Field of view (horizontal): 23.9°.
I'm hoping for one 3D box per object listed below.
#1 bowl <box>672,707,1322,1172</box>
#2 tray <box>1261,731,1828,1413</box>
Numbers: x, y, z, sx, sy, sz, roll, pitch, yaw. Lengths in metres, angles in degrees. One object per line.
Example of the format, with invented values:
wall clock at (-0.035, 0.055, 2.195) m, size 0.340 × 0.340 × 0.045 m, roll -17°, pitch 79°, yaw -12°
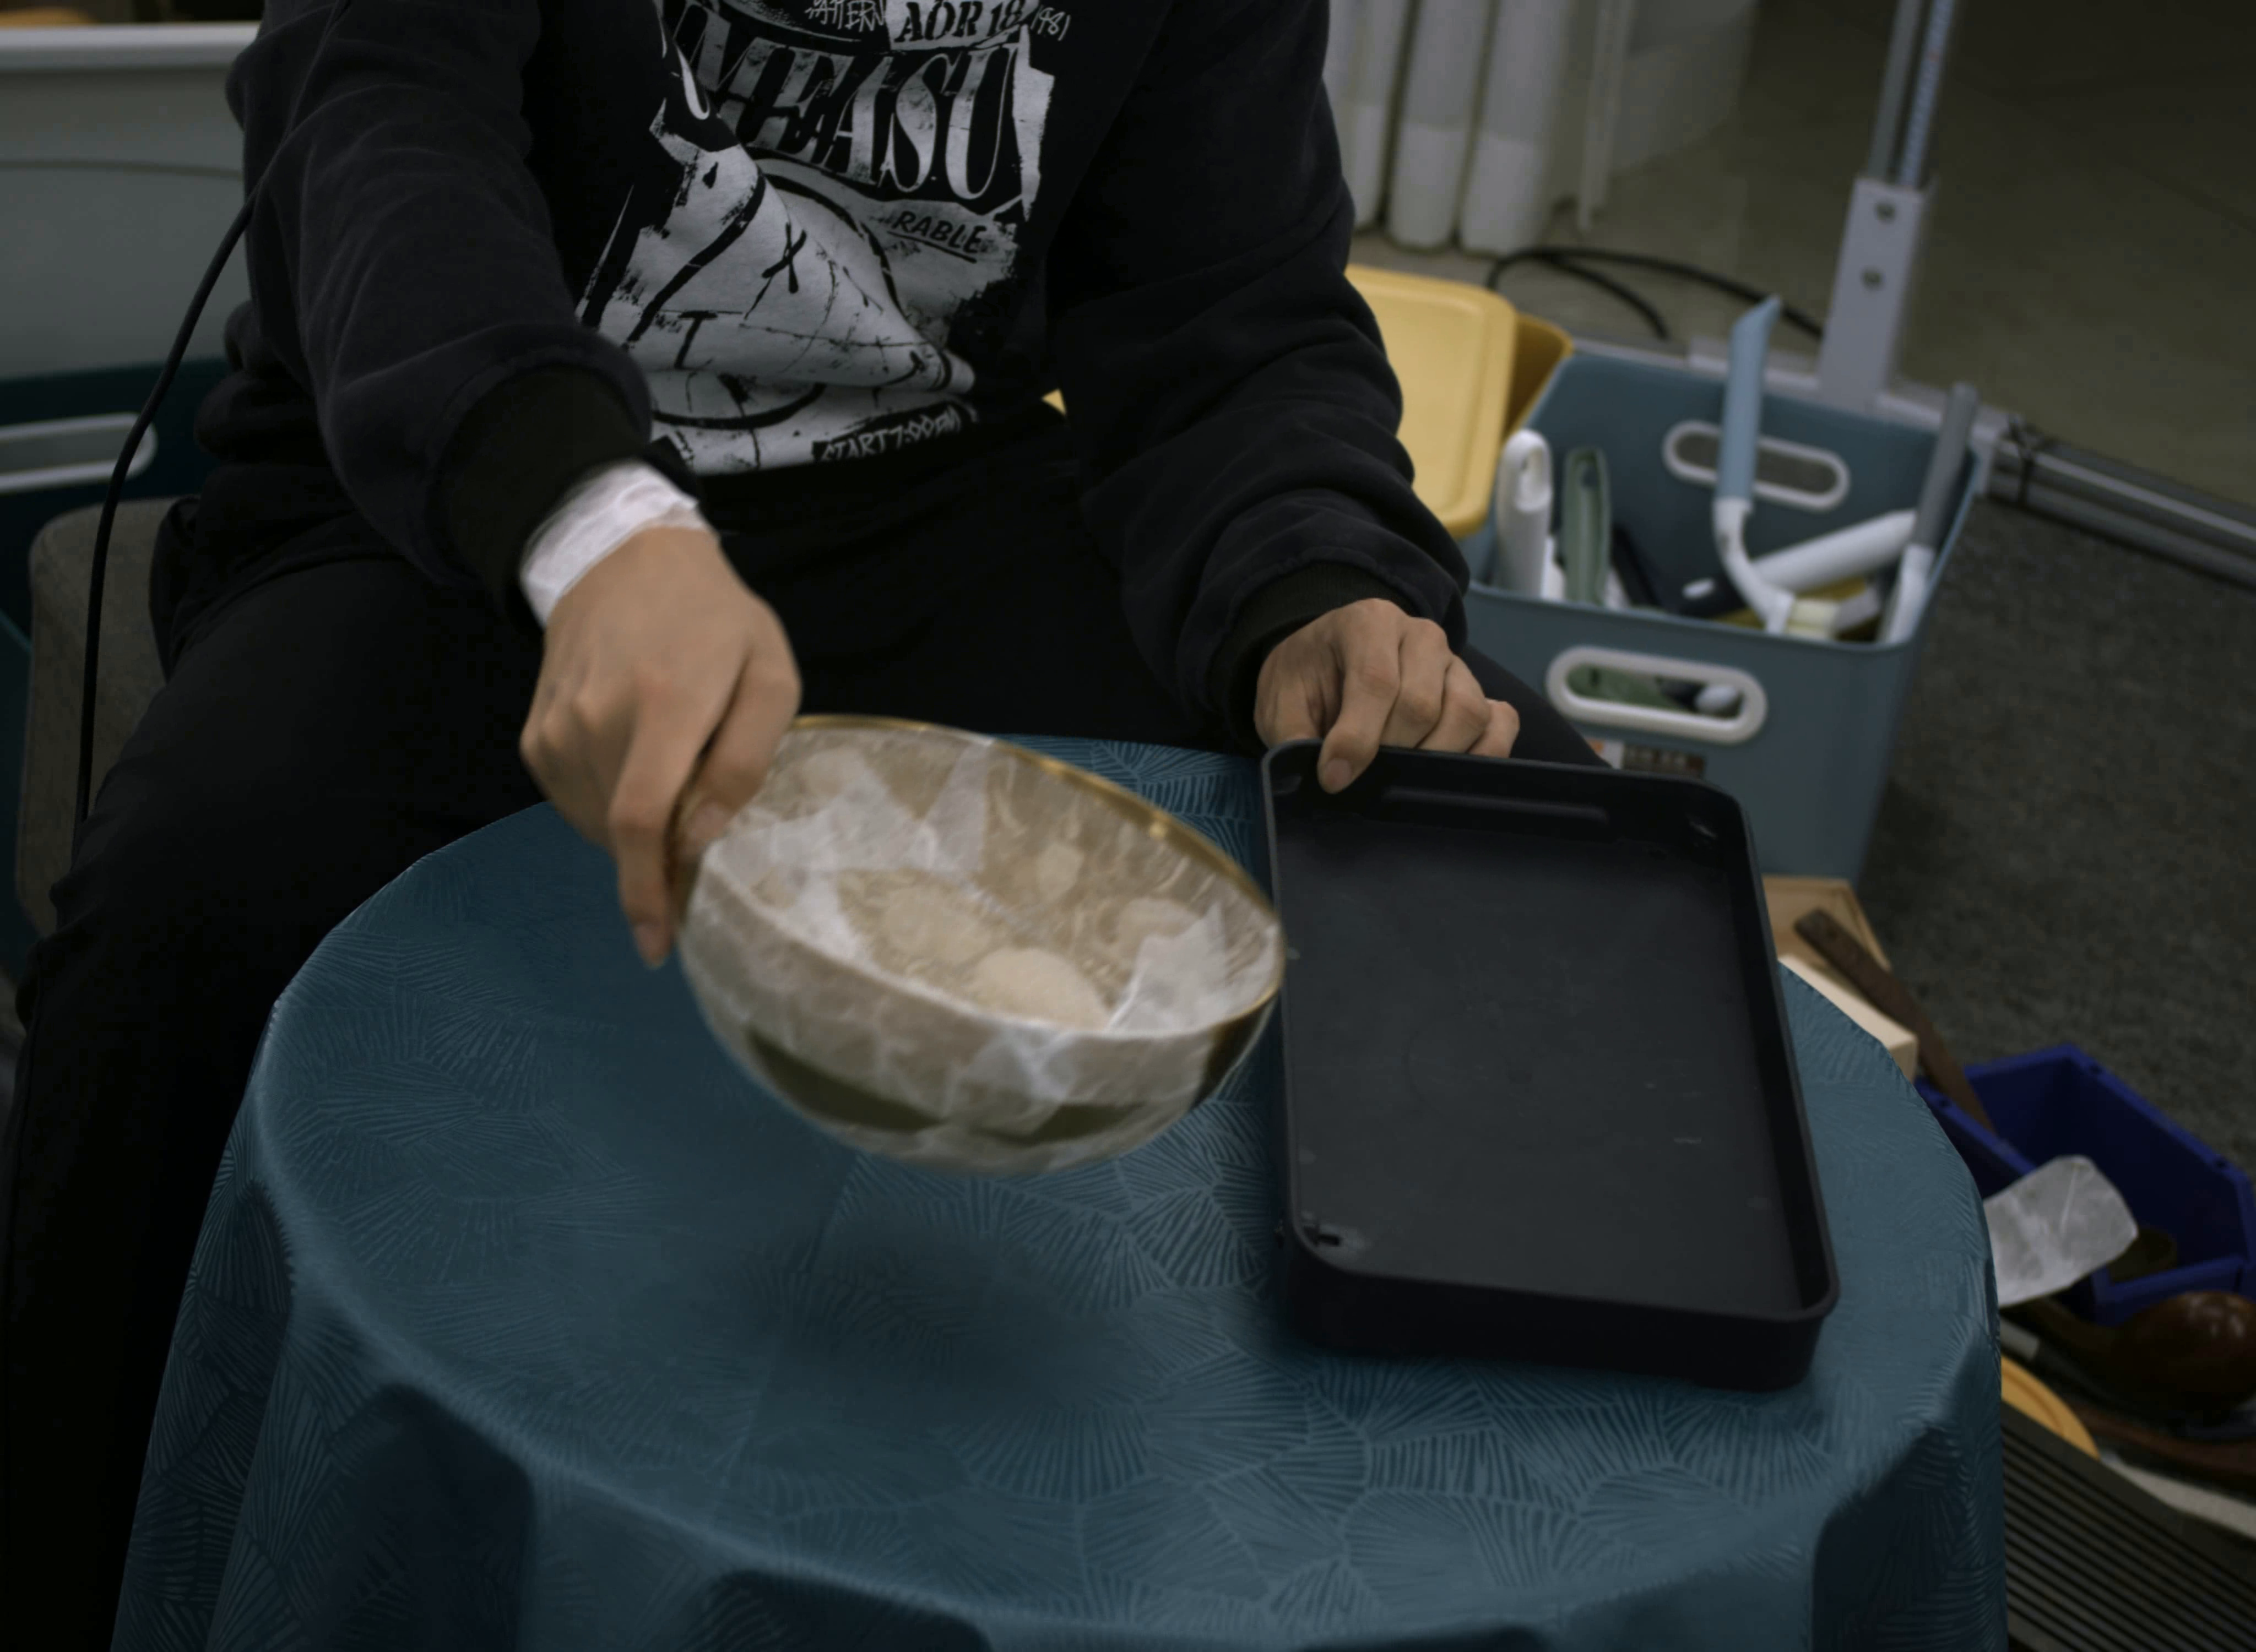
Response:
bowl at (-0.052, 0.048, 1.683) m, size 0.214 × 0.094 × 0.216 m, roll 15°, pitch 23°, yaw -7°
tray at (0.138, 0.079, 1.844) m, size 0.183 × 0.037 × 0.320 m, roll 8°, pitch 35°, yaw -4°
